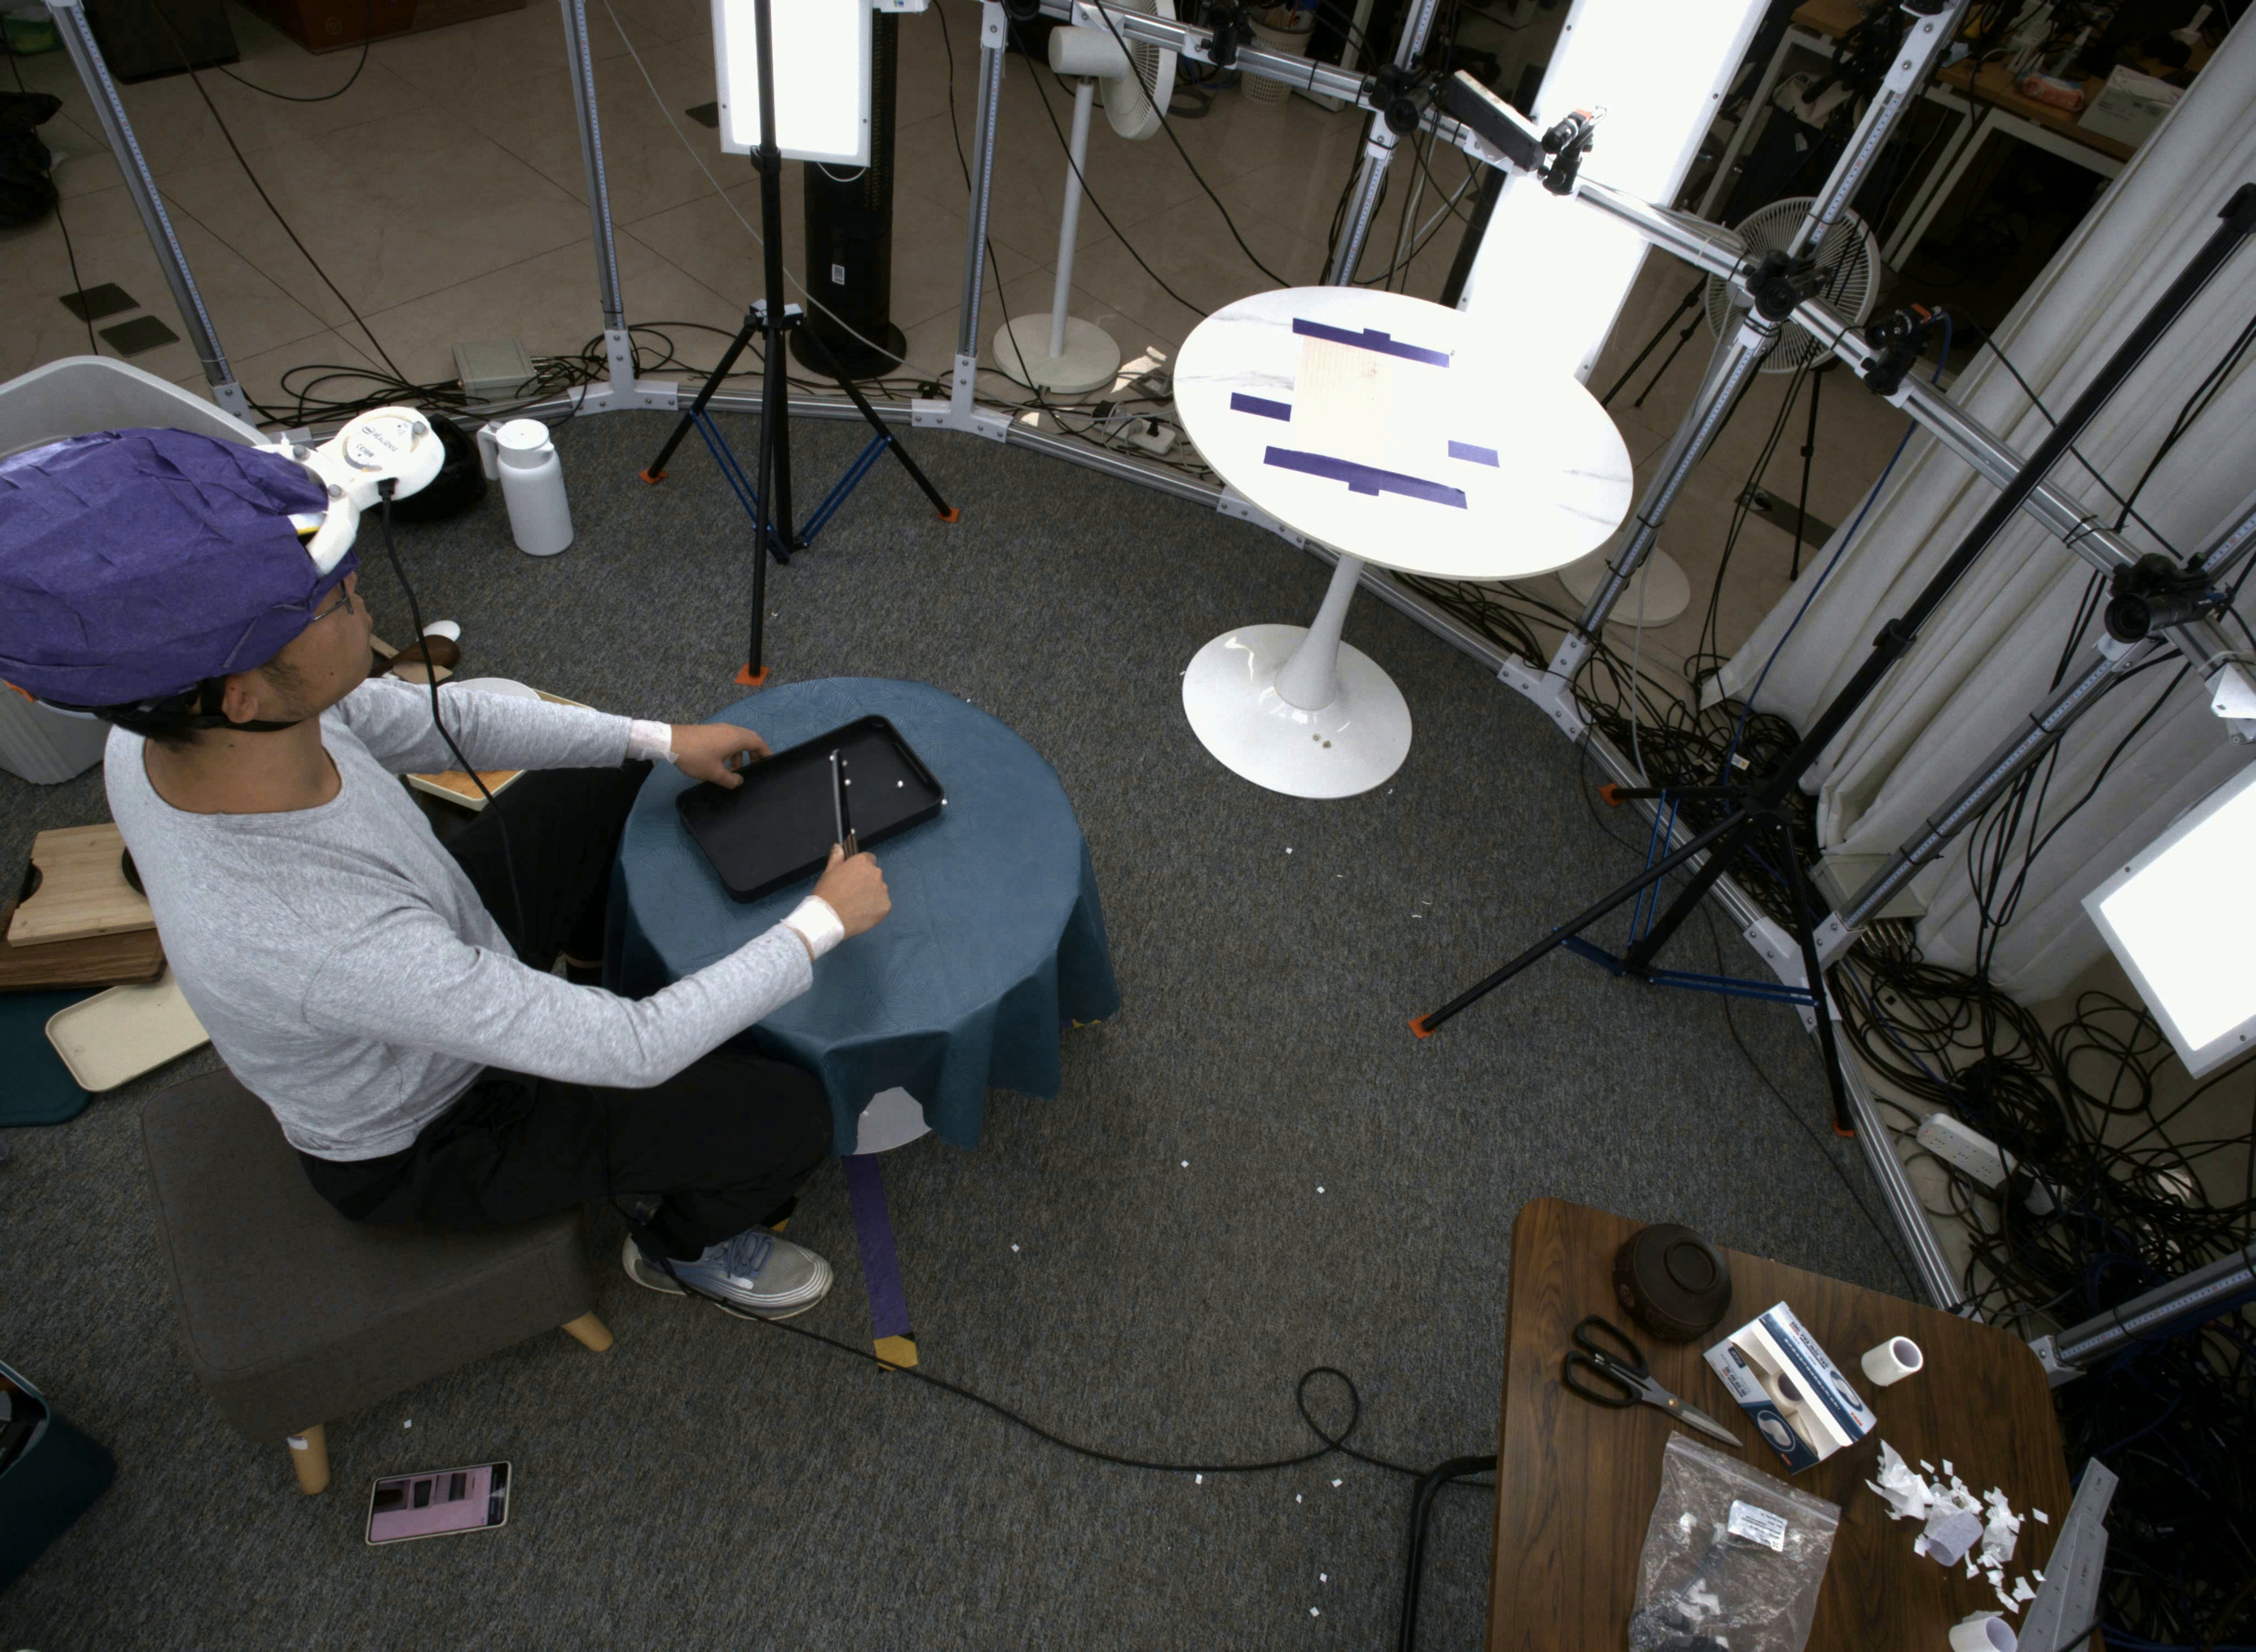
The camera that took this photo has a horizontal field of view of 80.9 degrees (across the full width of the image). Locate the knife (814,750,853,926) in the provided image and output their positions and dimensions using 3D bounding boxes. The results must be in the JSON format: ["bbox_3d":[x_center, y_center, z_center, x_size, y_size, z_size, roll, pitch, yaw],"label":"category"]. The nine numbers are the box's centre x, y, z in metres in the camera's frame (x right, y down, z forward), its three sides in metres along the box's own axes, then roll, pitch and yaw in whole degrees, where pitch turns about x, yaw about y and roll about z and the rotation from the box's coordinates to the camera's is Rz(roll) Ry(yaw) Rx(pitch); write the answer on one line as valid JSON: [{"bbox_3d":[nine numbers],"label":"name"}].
[{"bbox_3d":[-0.374,0.009,1.622,0.020,0.050,0.281,6,47,-31],"label":"knife"}]

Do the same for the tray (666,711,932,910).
[{"bbox_3d":[-0.435,-0.028,1.730,0.319,0.038,0.180,-31,66,-30],"label":"tray"}]
